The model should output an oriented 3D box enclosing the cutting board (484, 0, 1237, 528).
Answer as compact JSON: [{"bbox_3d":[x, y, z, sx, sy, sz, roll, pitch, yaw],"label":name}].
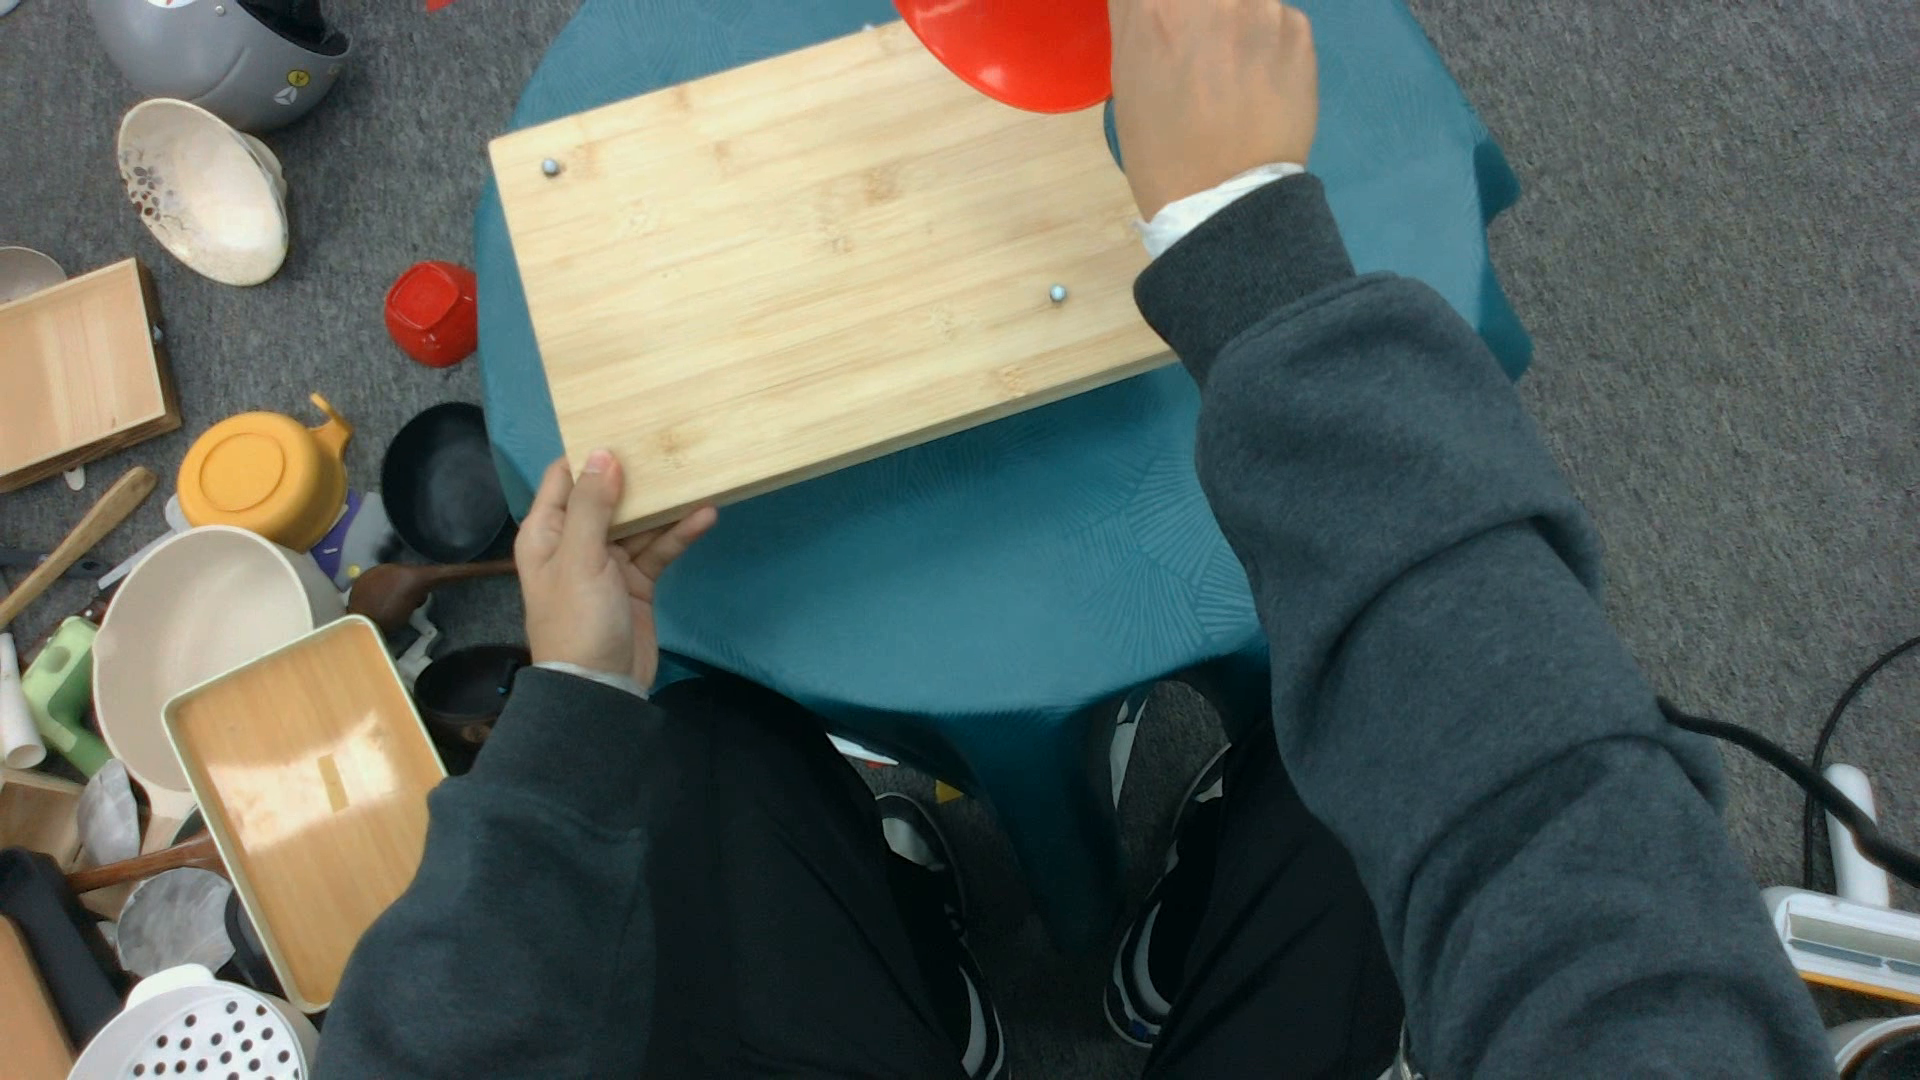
[{"bbox_3d":[-0.062,-0.167,0.727,0.349,0.023,0.251,-19,71,-5],"label":"cutting board"}]

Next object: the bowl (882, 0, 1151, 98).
[{"bbox_3d":[0.036,-0.276,0.584,0.148,0.147,0.105,41,69,15],"label":"bowl"}]
